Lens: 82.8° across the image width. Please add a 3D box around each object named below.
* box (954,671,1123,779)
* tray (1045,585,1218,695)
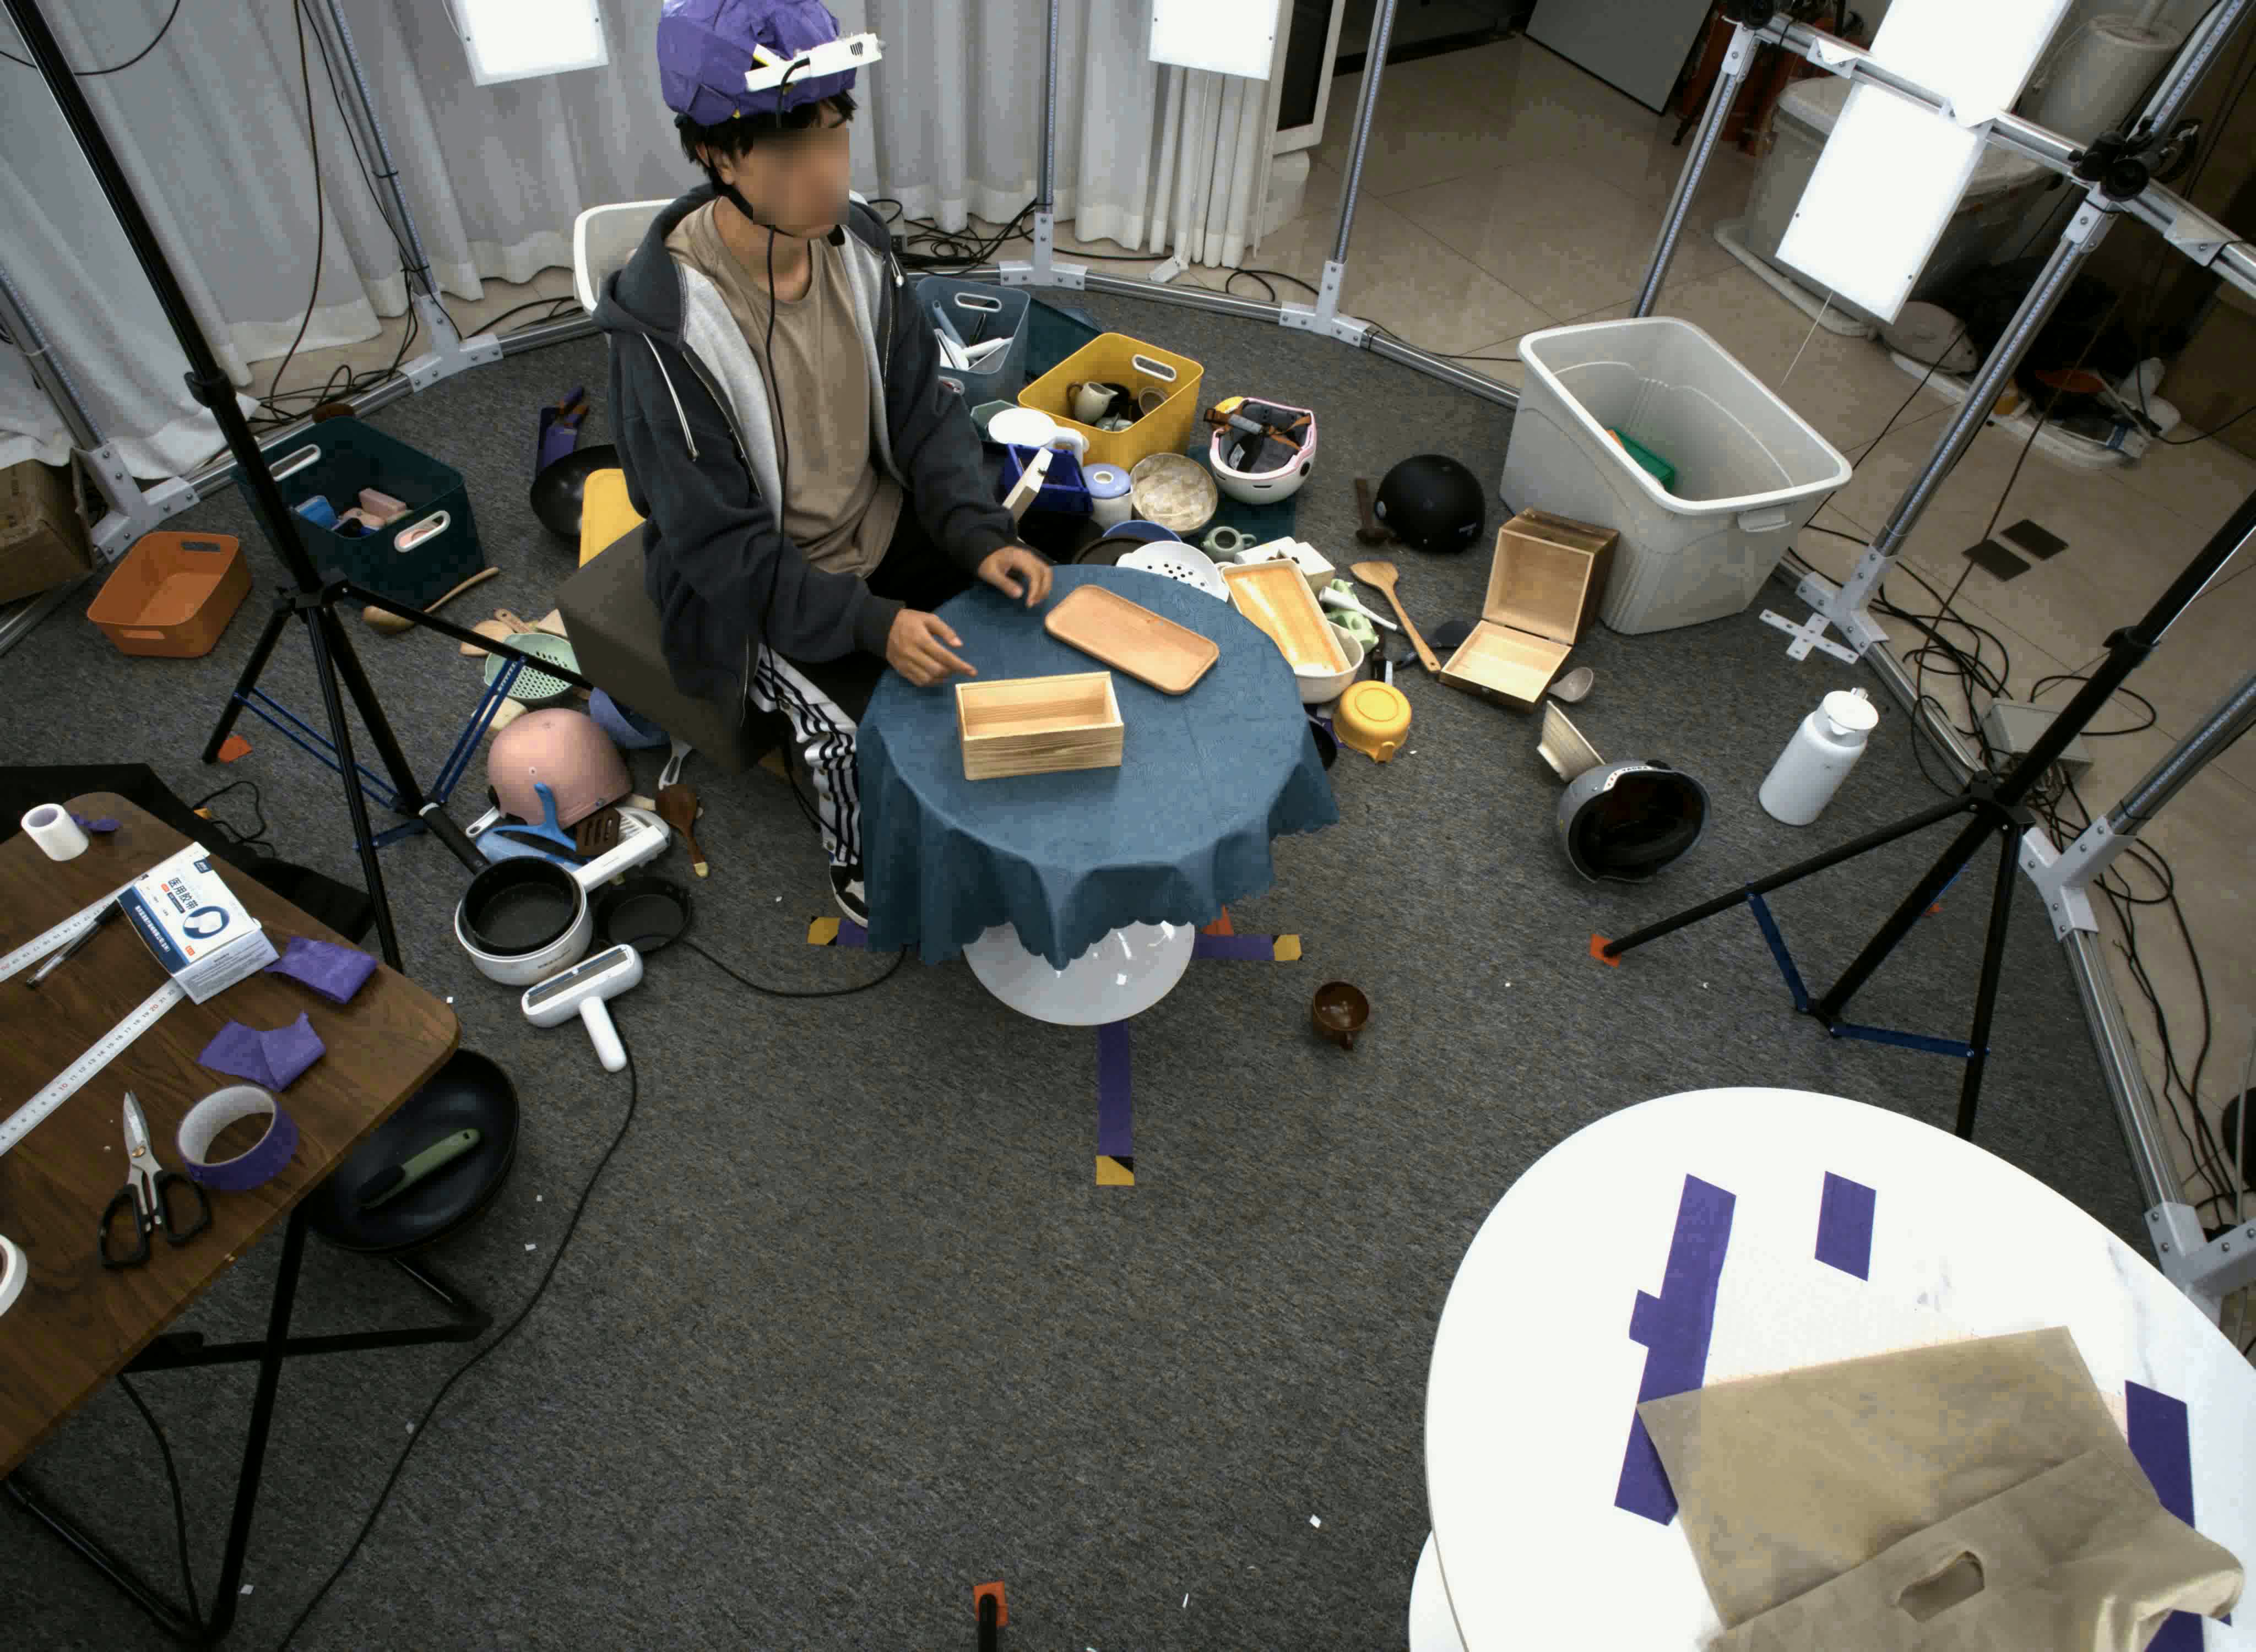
[{"bbox_3d":[-0.121,-0.136,1.725,0.211,0.078,0.110,-6,50,-9],"label":"box"},{"bbox_3d":[0.004,-0.276,1.896,0.253,0.022,0.132,29,50,20],"label":"tray"}]
